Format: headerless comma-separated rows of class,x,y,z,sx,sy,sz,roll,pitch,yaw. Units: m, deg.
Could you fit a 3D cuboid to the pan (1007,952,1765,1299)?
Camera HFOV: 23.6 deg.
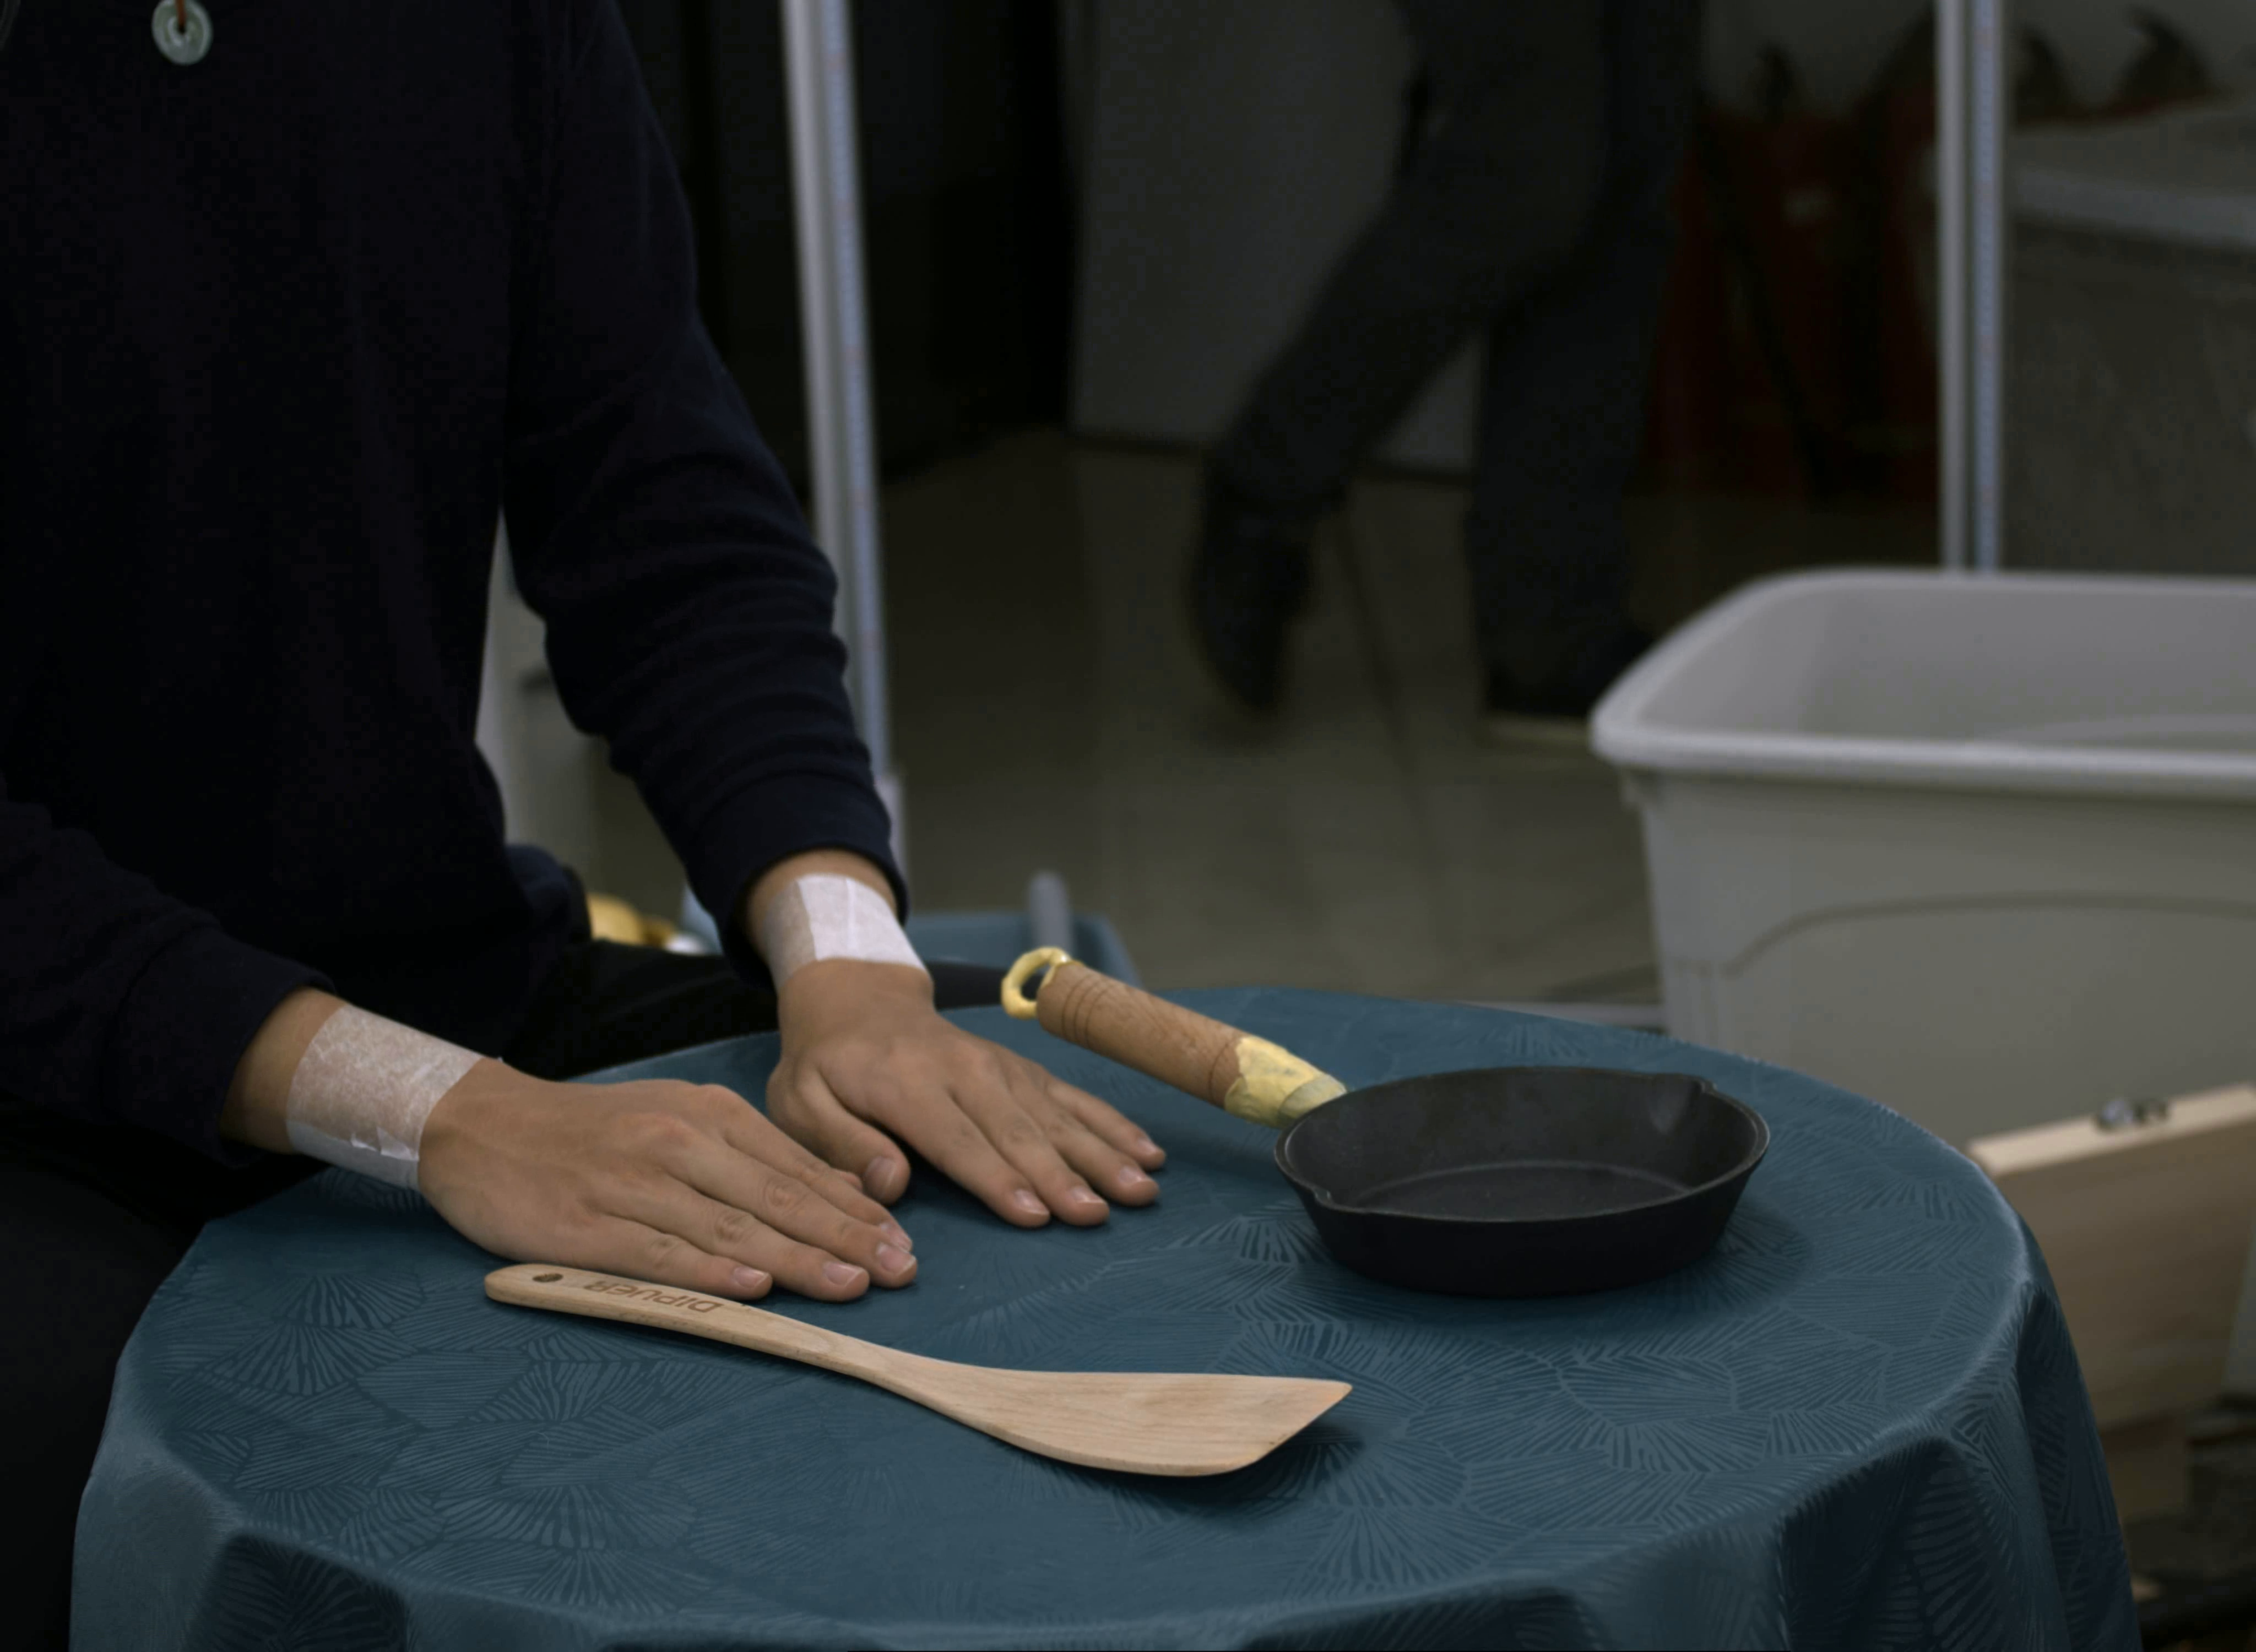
pan,0.070,0.093,1.759,0.165,0.050,0.327,-15,19,-37

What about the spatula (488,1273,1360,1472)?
spatula,-0.071,0.157,1.610,0.330,0.017,0.078,7,17,39
